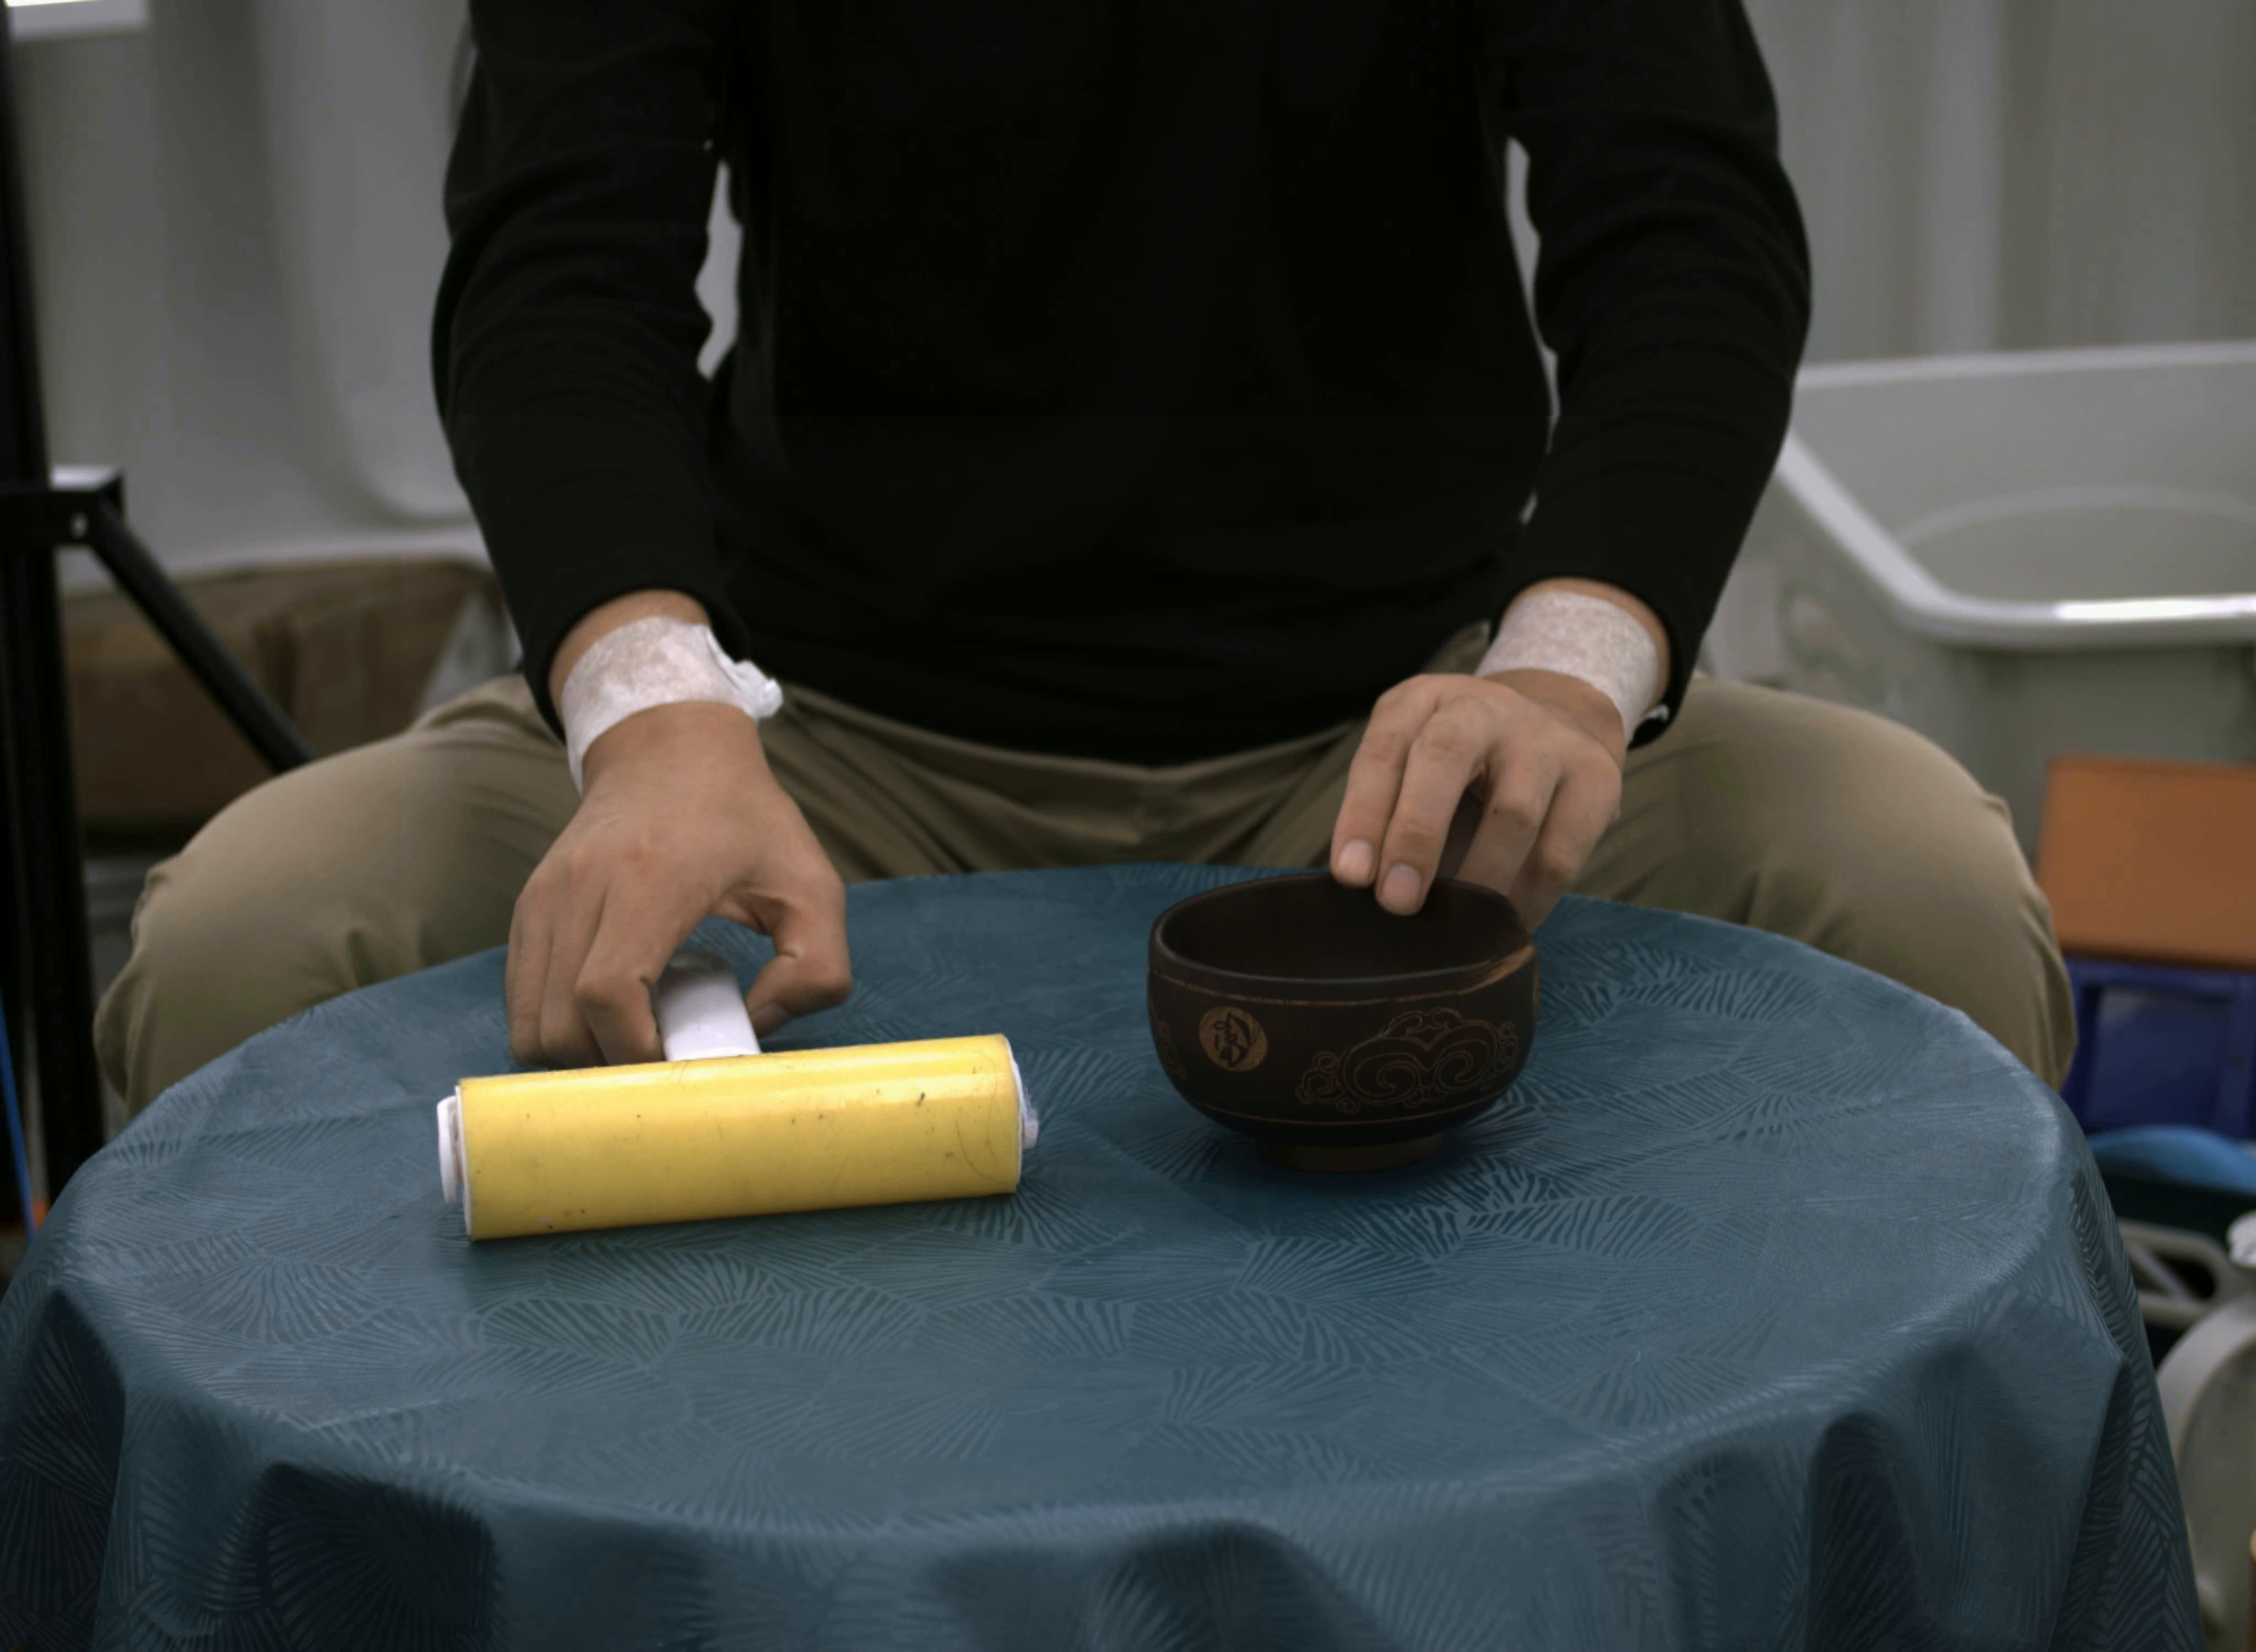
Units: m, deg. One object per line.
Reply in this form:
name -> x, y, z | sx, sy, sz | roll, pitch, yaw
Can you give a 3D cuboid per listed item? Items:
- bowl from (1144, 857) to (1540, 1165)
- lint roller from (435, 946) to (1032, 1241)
bowl -> 0.064, 0.059, 1.581 | 0.117, 0.070, 0.118 | -2, 17, -1
lint roller -> -0.129, 0.064, 1.617 | 0.172, 0.051, 0.195 | -5, 25, -9
